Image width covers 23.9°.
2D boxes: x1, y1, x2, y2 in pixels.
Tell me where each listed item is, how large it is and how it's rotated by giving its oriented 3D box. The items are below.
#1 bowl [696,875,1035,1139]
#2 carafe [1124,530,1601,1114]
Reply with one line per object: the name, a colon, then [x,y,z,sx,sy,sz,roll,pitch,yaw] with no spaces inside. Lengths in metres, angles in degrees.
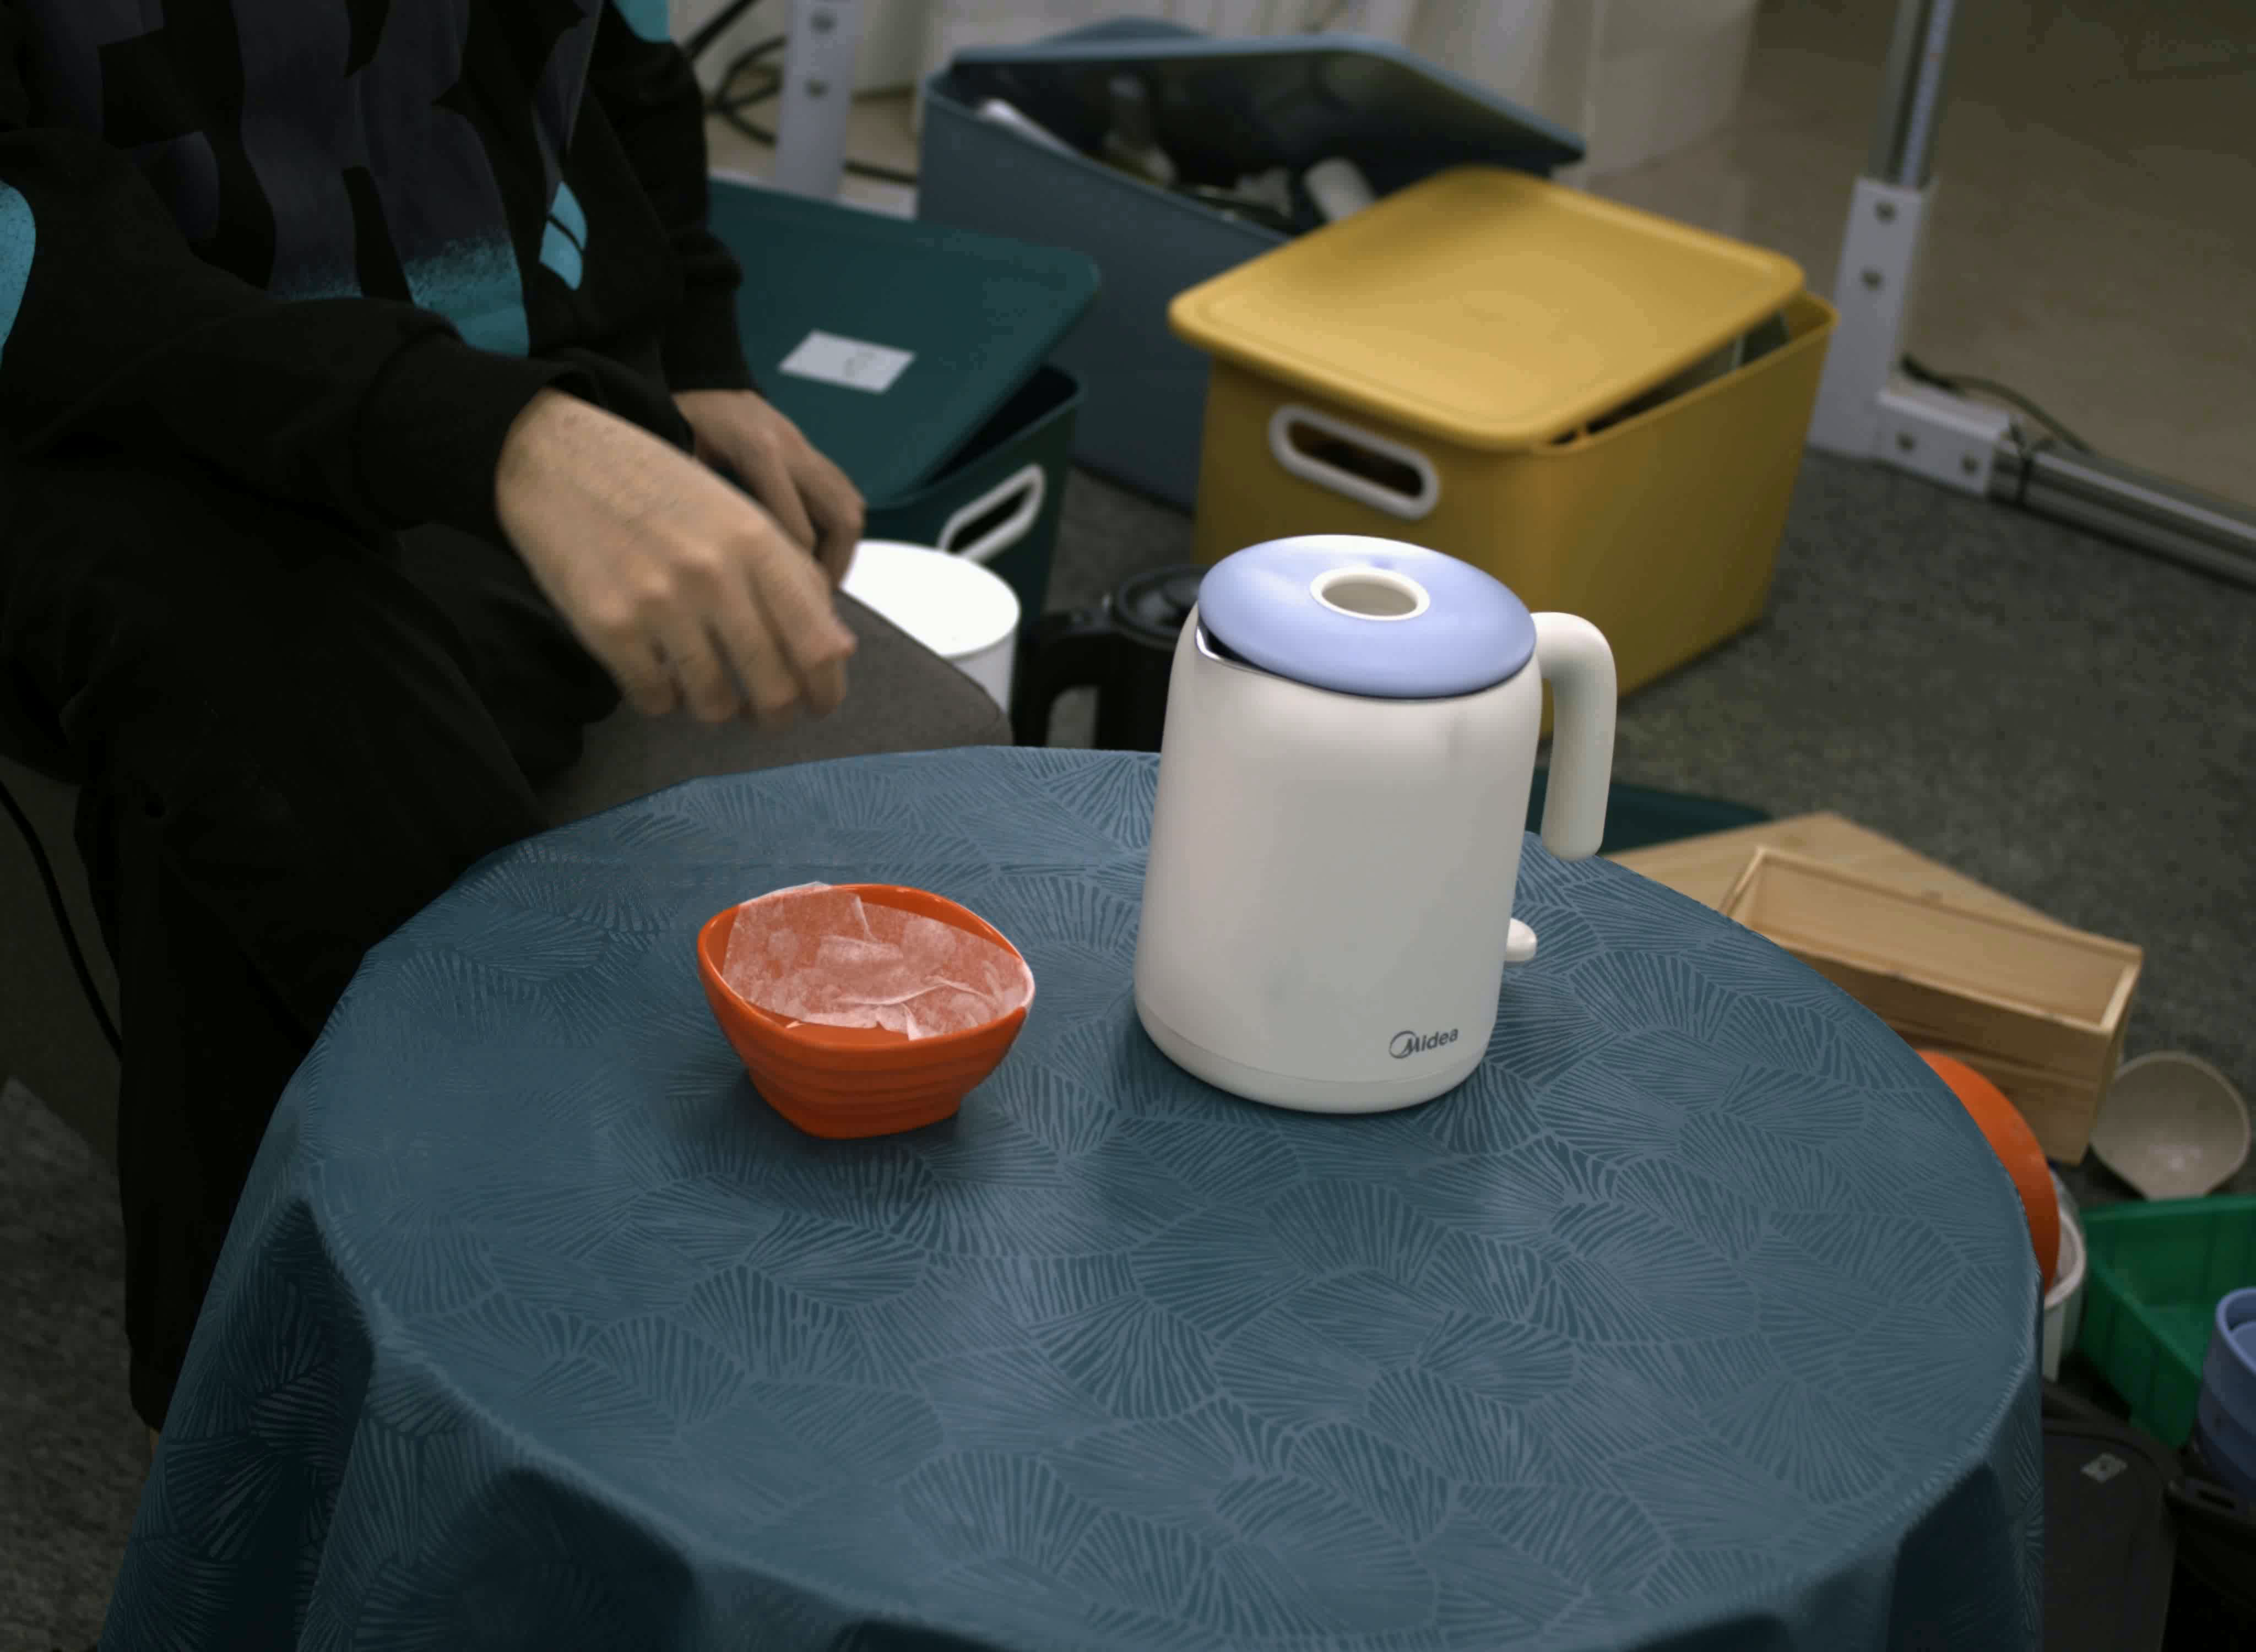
bowl: [-0.092,0.067,1.831,0.118,0.051,0.120,5,30,-3]
carafe: [0.092,-0.005,1.886,0.190,0.182,0.133,-10,32,-34]
